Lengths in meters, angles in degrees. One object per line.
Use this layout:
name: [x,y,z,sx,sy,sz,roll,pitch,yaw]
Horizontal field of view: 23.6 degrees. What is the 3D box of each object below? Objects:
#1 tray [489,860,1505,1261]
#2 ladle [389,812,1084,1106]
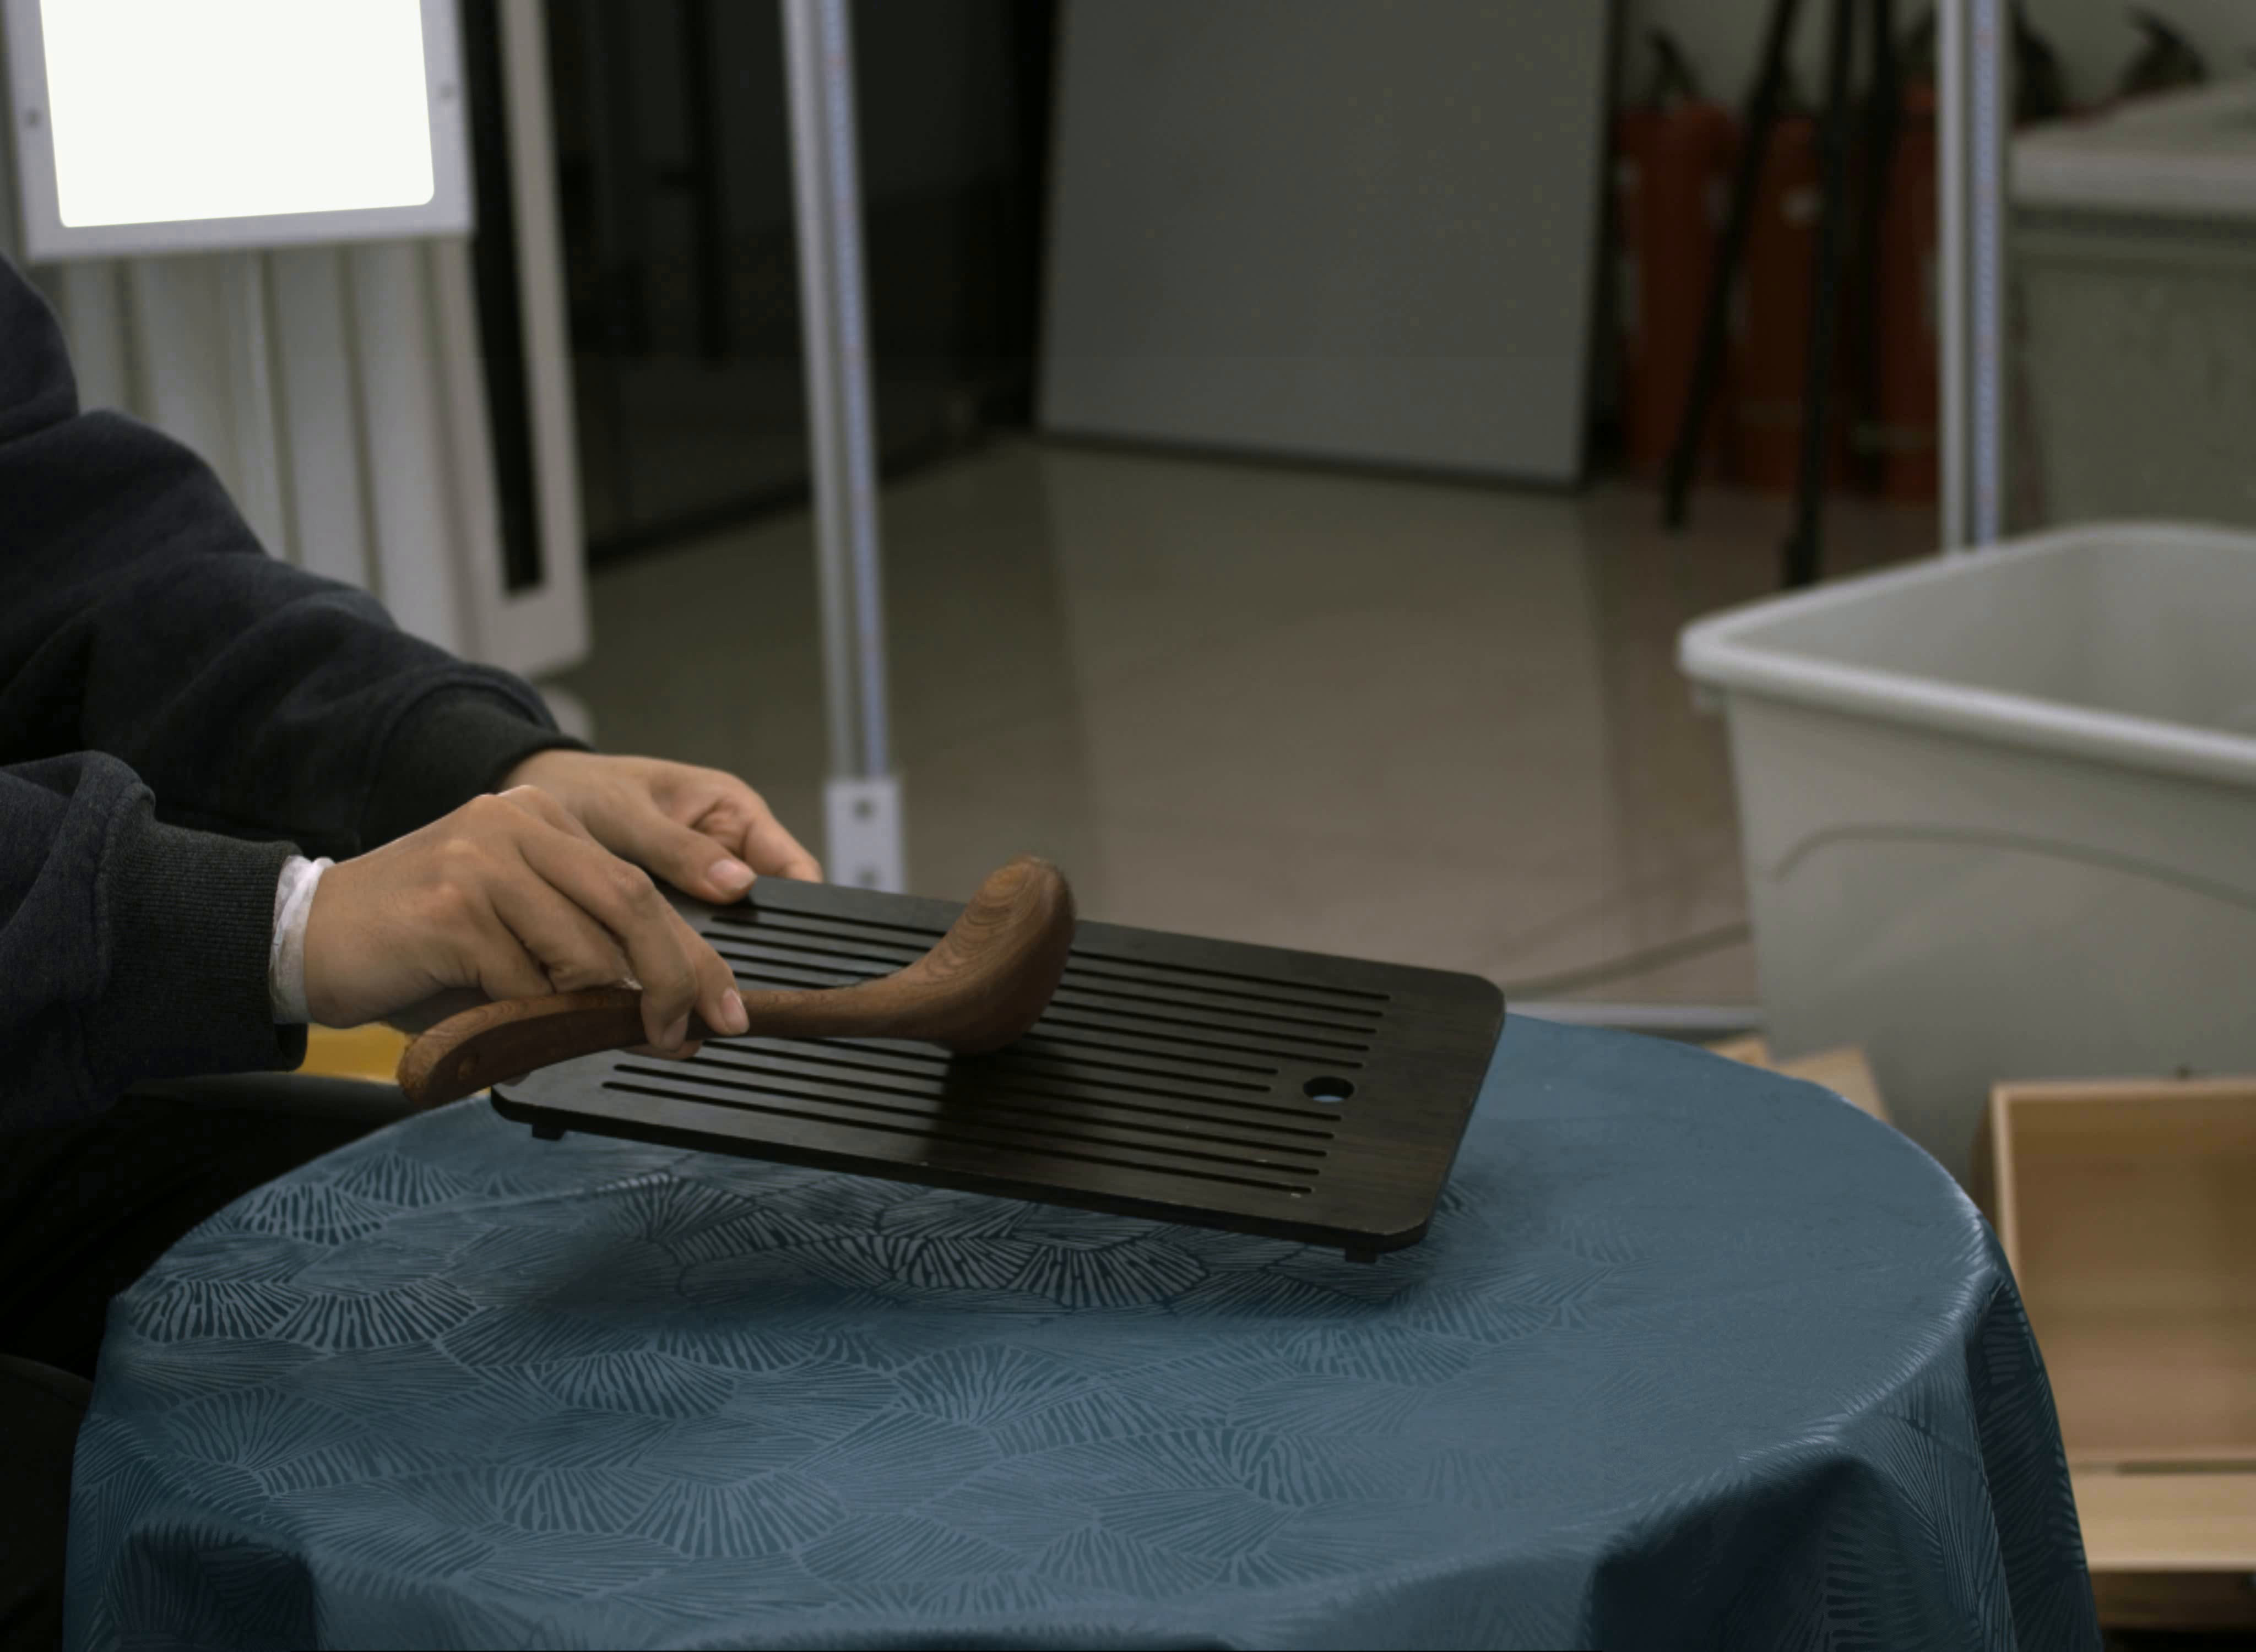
tray: [-0.039,0.074,1.738,0.304,0.019,0.169,8,28,13]
ladle: [-0.119,0.045,1.657,0.254,0.077,0.066,-8,33,-32]
